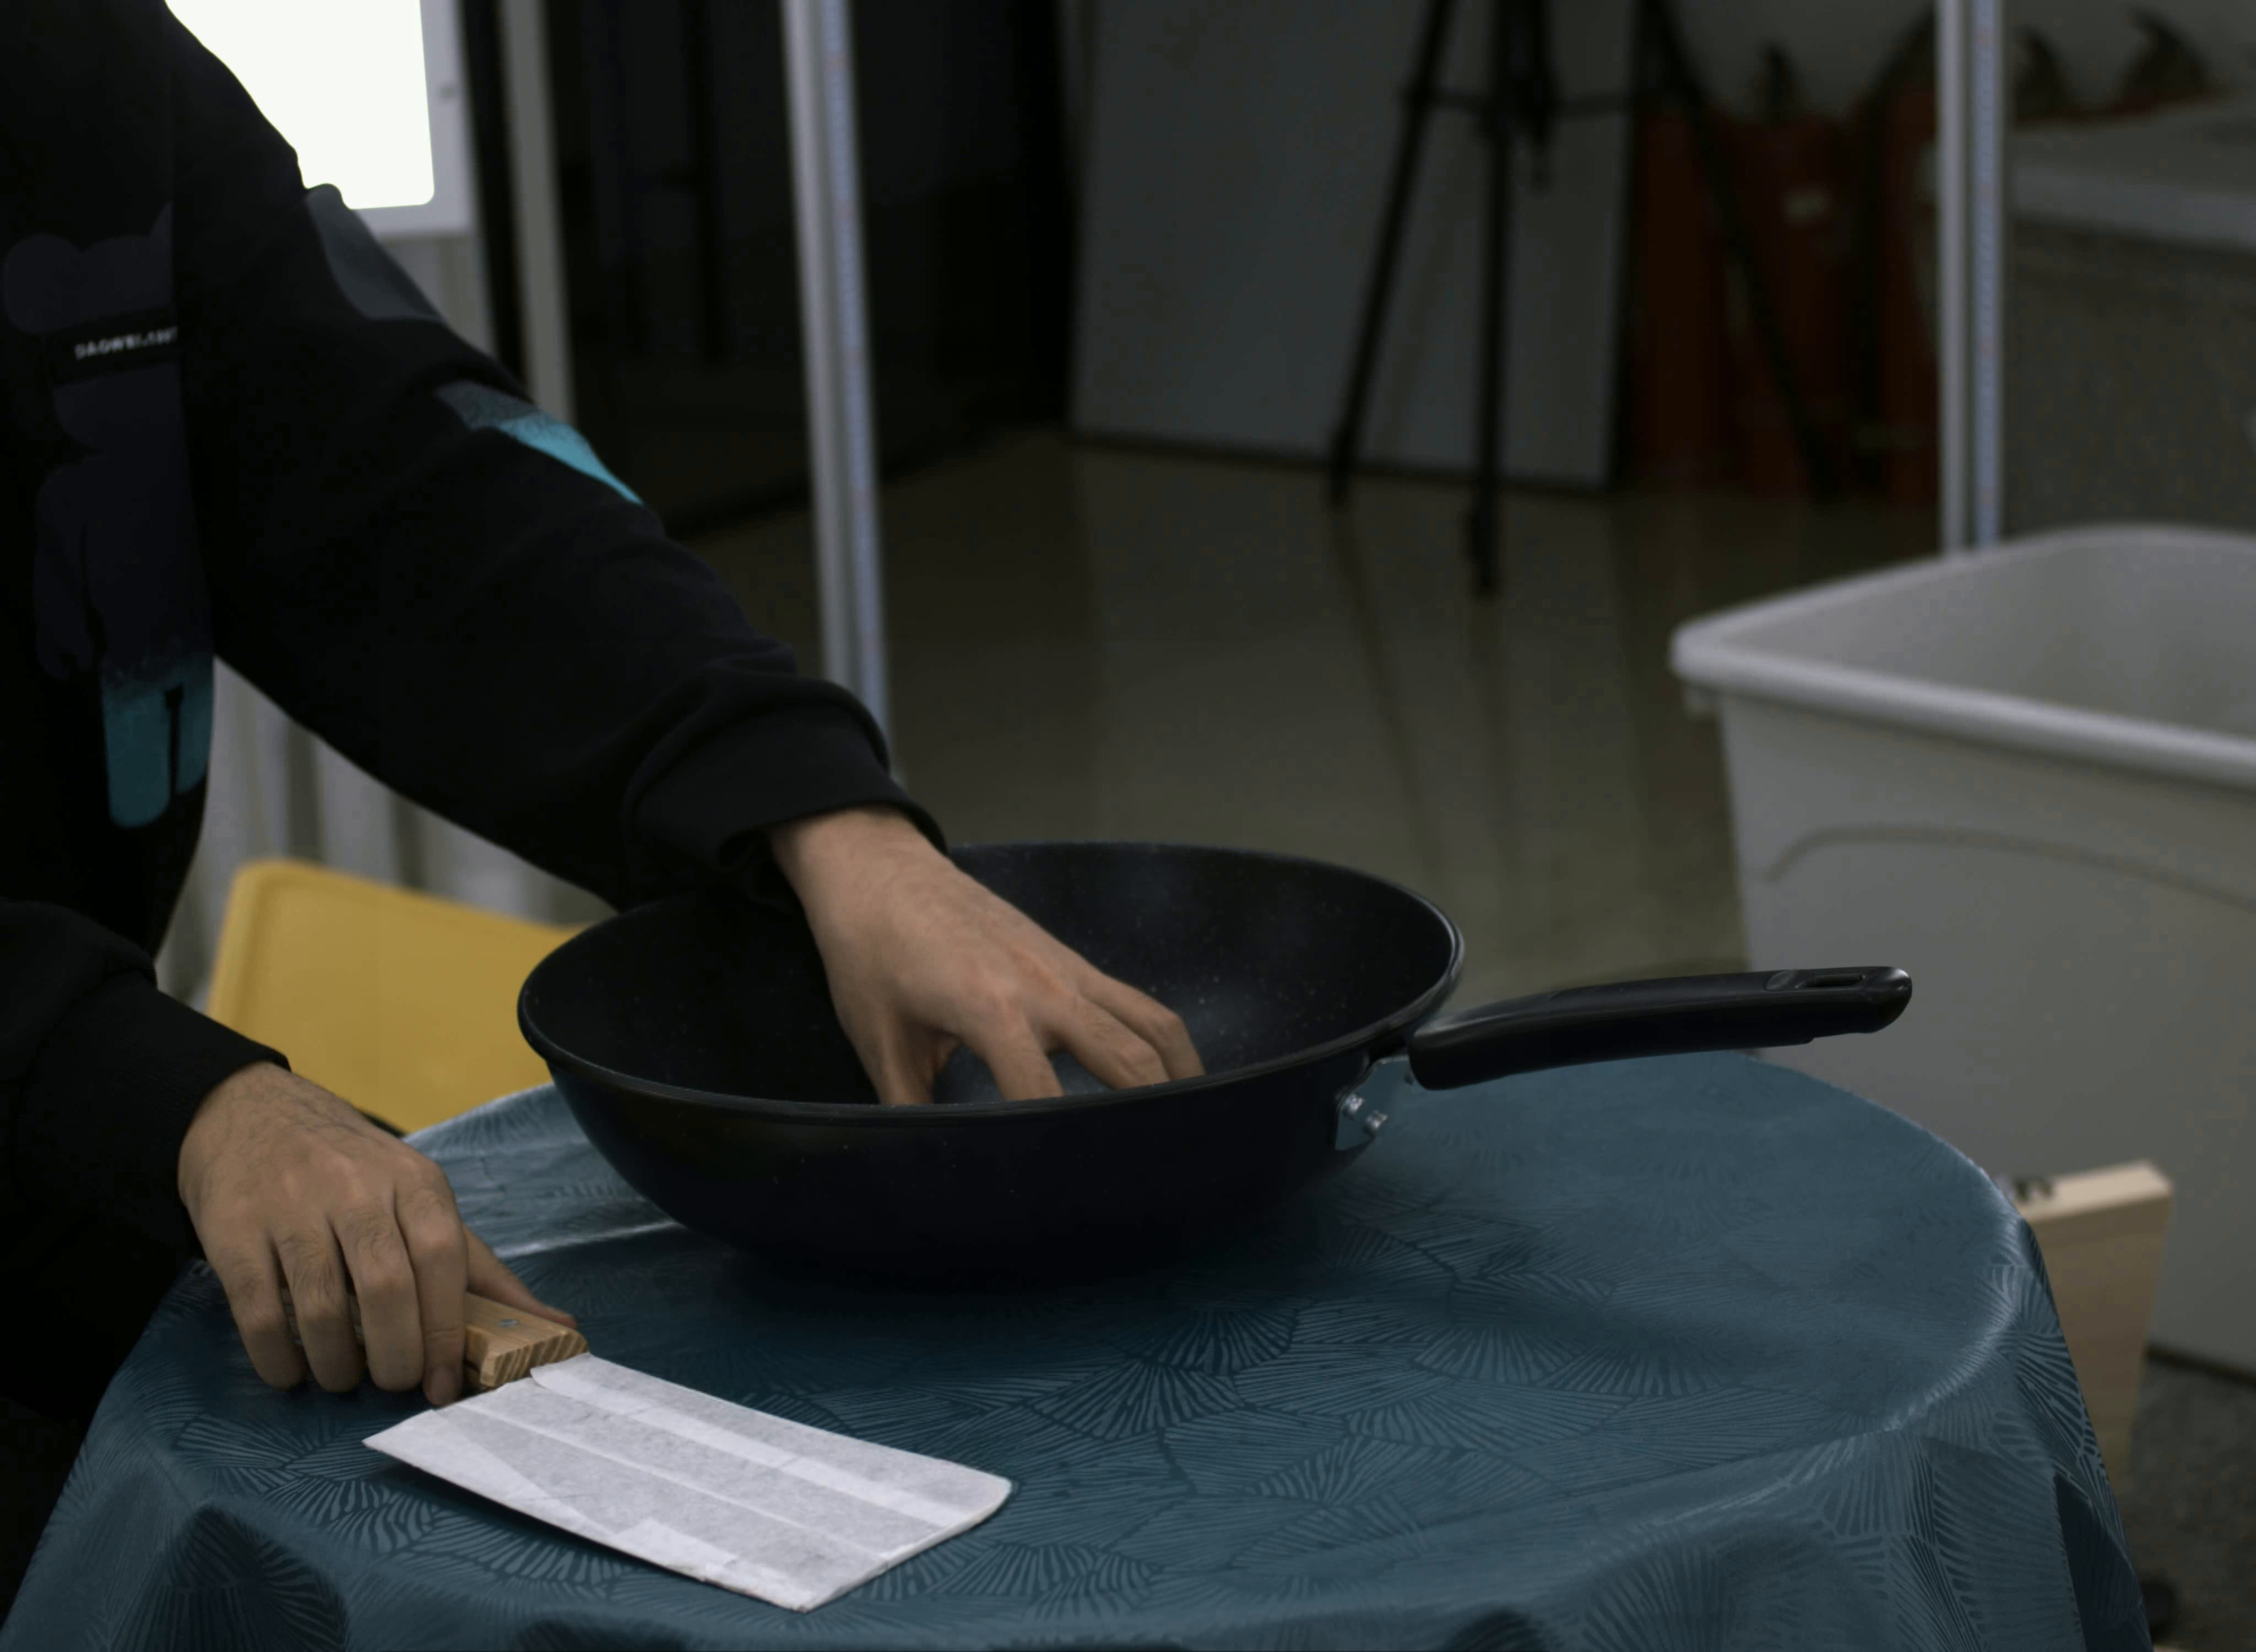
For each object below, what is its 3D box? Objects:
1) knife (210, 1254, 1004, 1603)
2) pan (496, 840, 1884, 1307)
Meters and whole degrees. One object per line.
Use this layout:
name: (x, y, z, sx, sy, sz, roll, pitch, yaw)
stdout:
knife: (-0.164, 0.172, 1.576, 0.111, 0.022, 0.318, -17, 21, -40)
pan: (0.022, 0.081, 1.704, 0.479, 0.113, 0.305, 4, 18, 32)
